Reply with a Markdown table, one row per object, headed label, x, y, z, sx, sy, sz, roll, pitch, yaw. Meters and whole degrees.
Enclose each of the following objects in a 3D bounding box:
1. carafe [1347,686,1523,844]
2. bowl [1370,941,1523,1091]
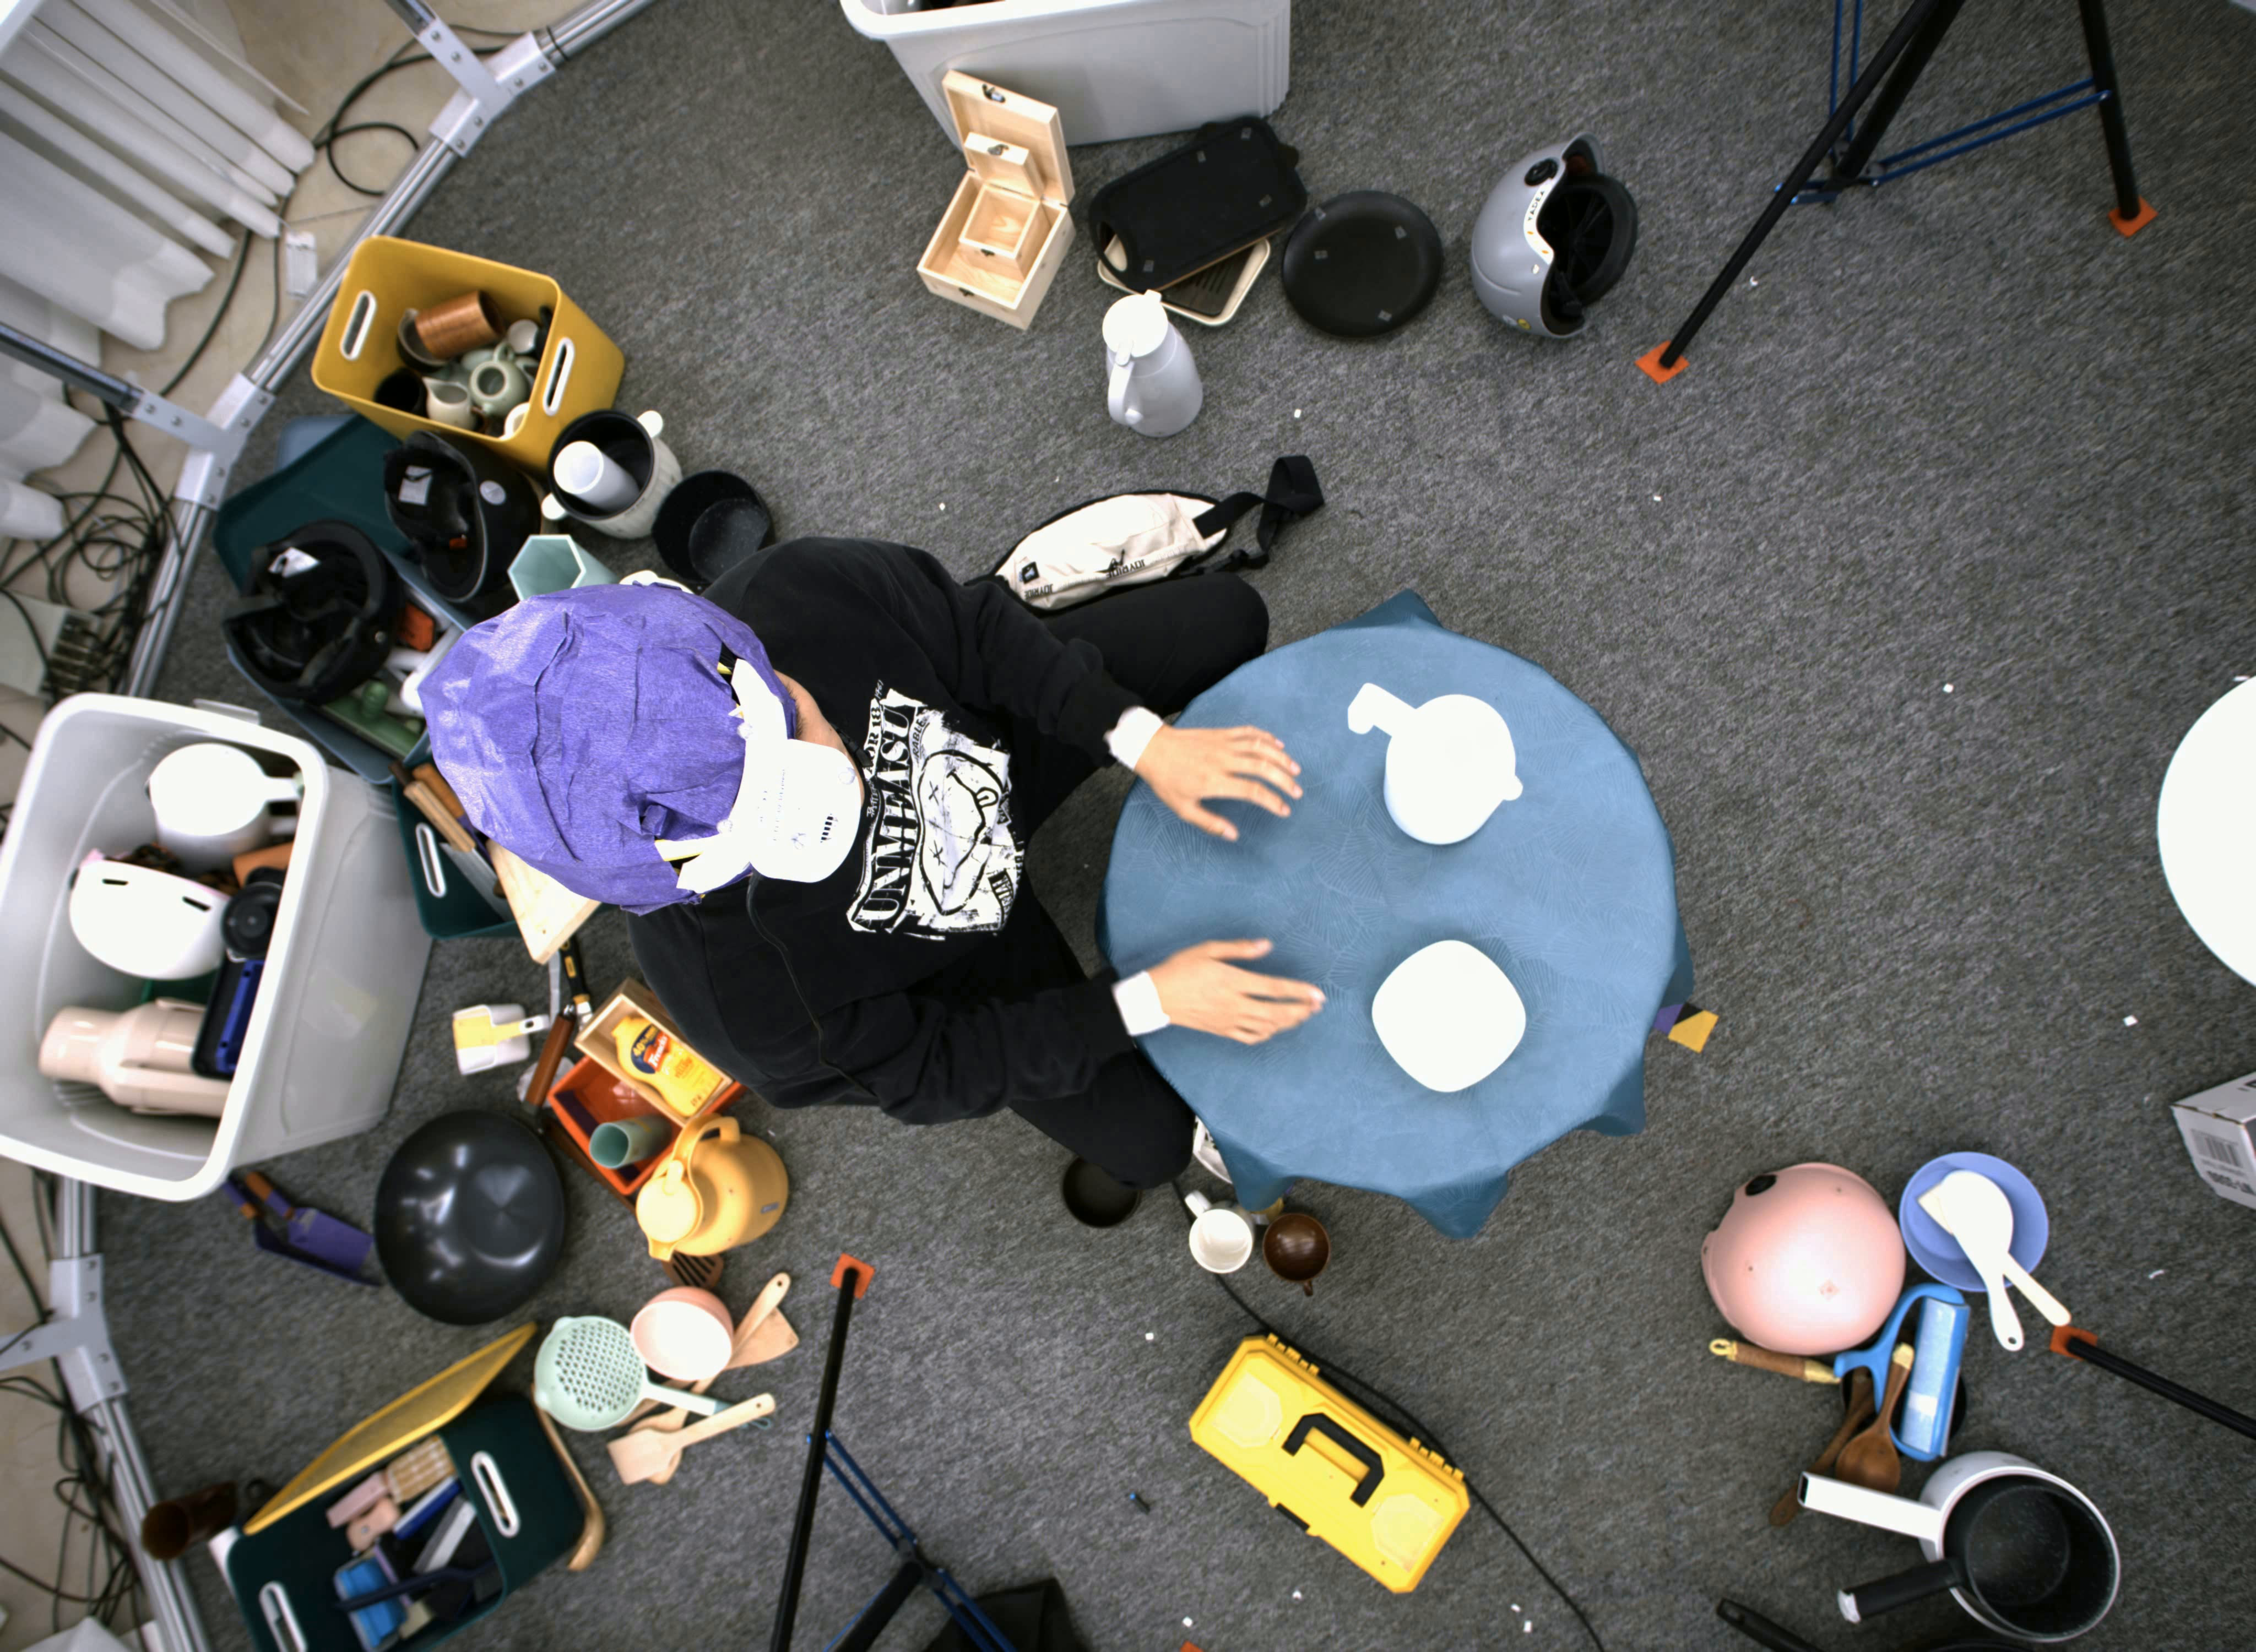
| label | x | y | z | sx | sy | sz | roll | pitch | yaw |
| --- | --- | --- | --- | --- | --- | --- | --- | --- | --- |
| carafe | 0.291 | -0.061 | 1.328 | 0.172 | 0.268 | 0.124 | 32 | 93 | 11 |
| bowl | 0.325 | 0.192 | 1.418 | 0.152 | 0.058 | 0.151 | -1 | 86 | 11 |
